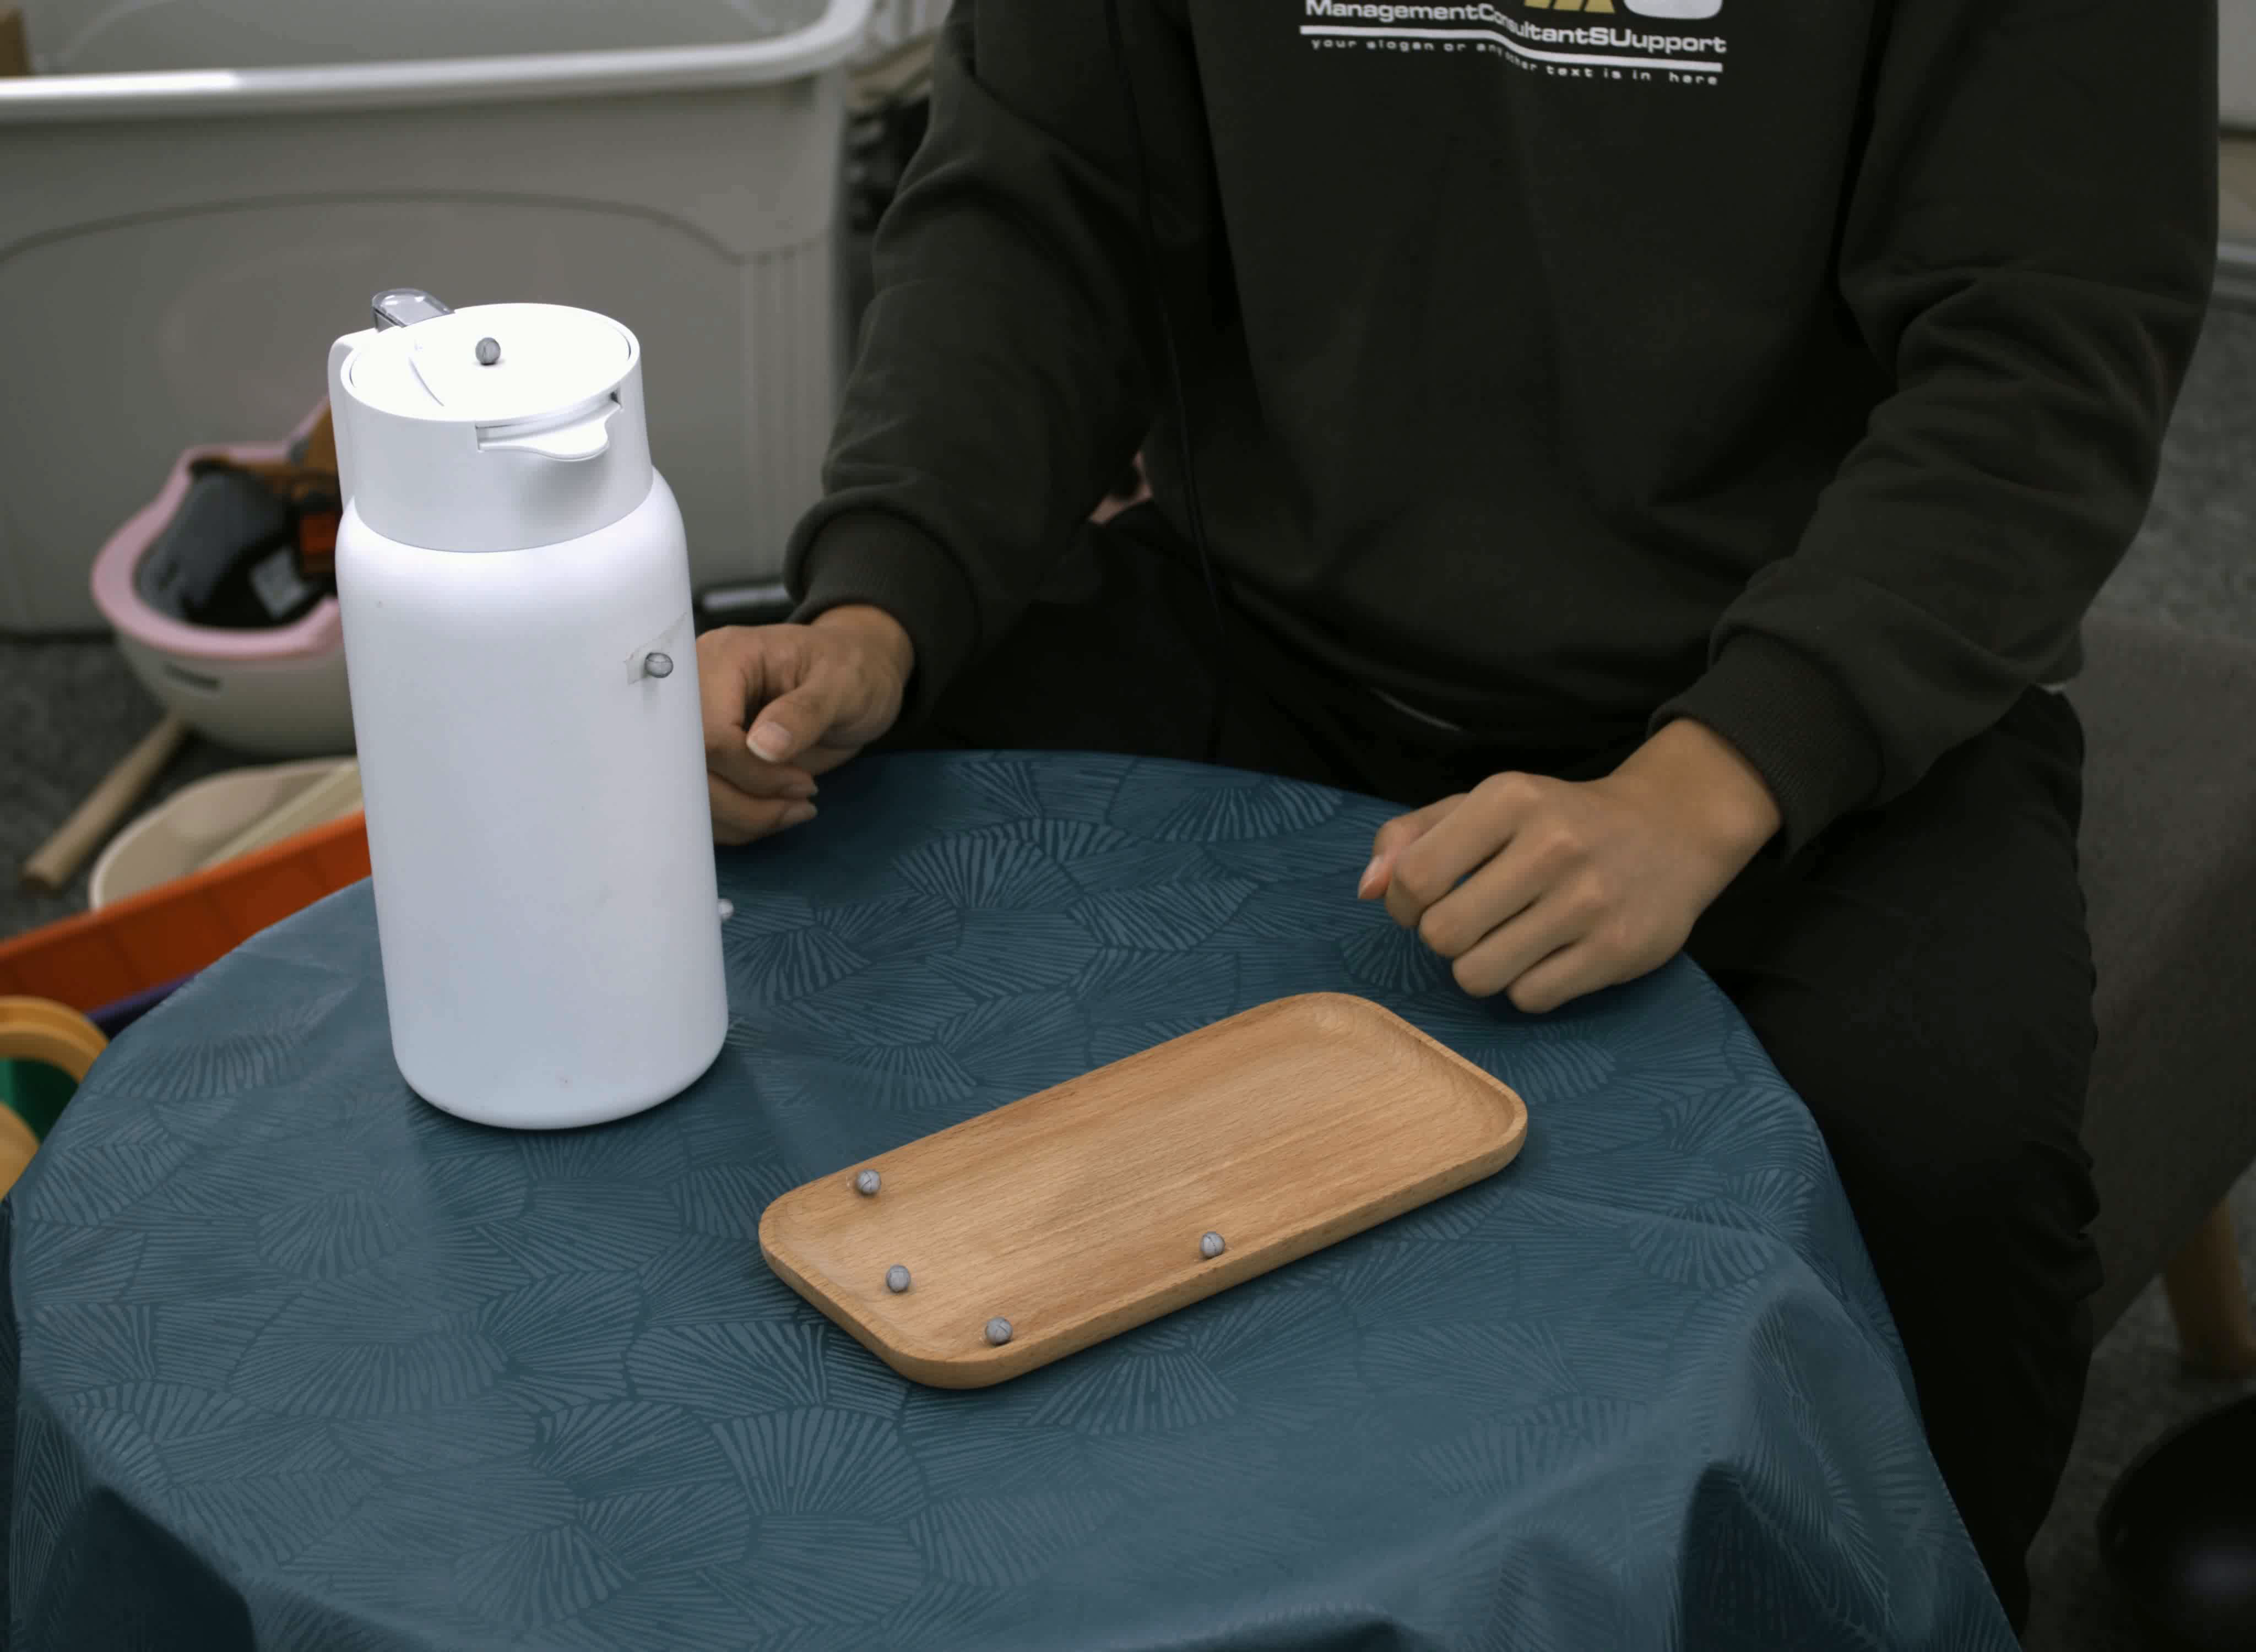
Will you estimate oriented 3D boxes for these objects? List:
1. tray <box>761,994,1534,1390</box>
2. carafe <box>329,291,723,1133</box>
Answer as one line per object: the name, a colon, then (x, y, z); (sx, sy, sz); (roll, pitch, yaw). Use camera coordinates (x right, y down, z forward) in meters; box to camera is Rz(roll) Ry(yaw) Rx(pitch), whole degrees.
tray: (0.008, 0.119, 1.852); (0.252, 0.022, 0.131); (-19, 34, -30)
carafe: (-0.214, -0.042, 1.915); (0.125, 0.266, 0.173); (-20, 31, -29)
